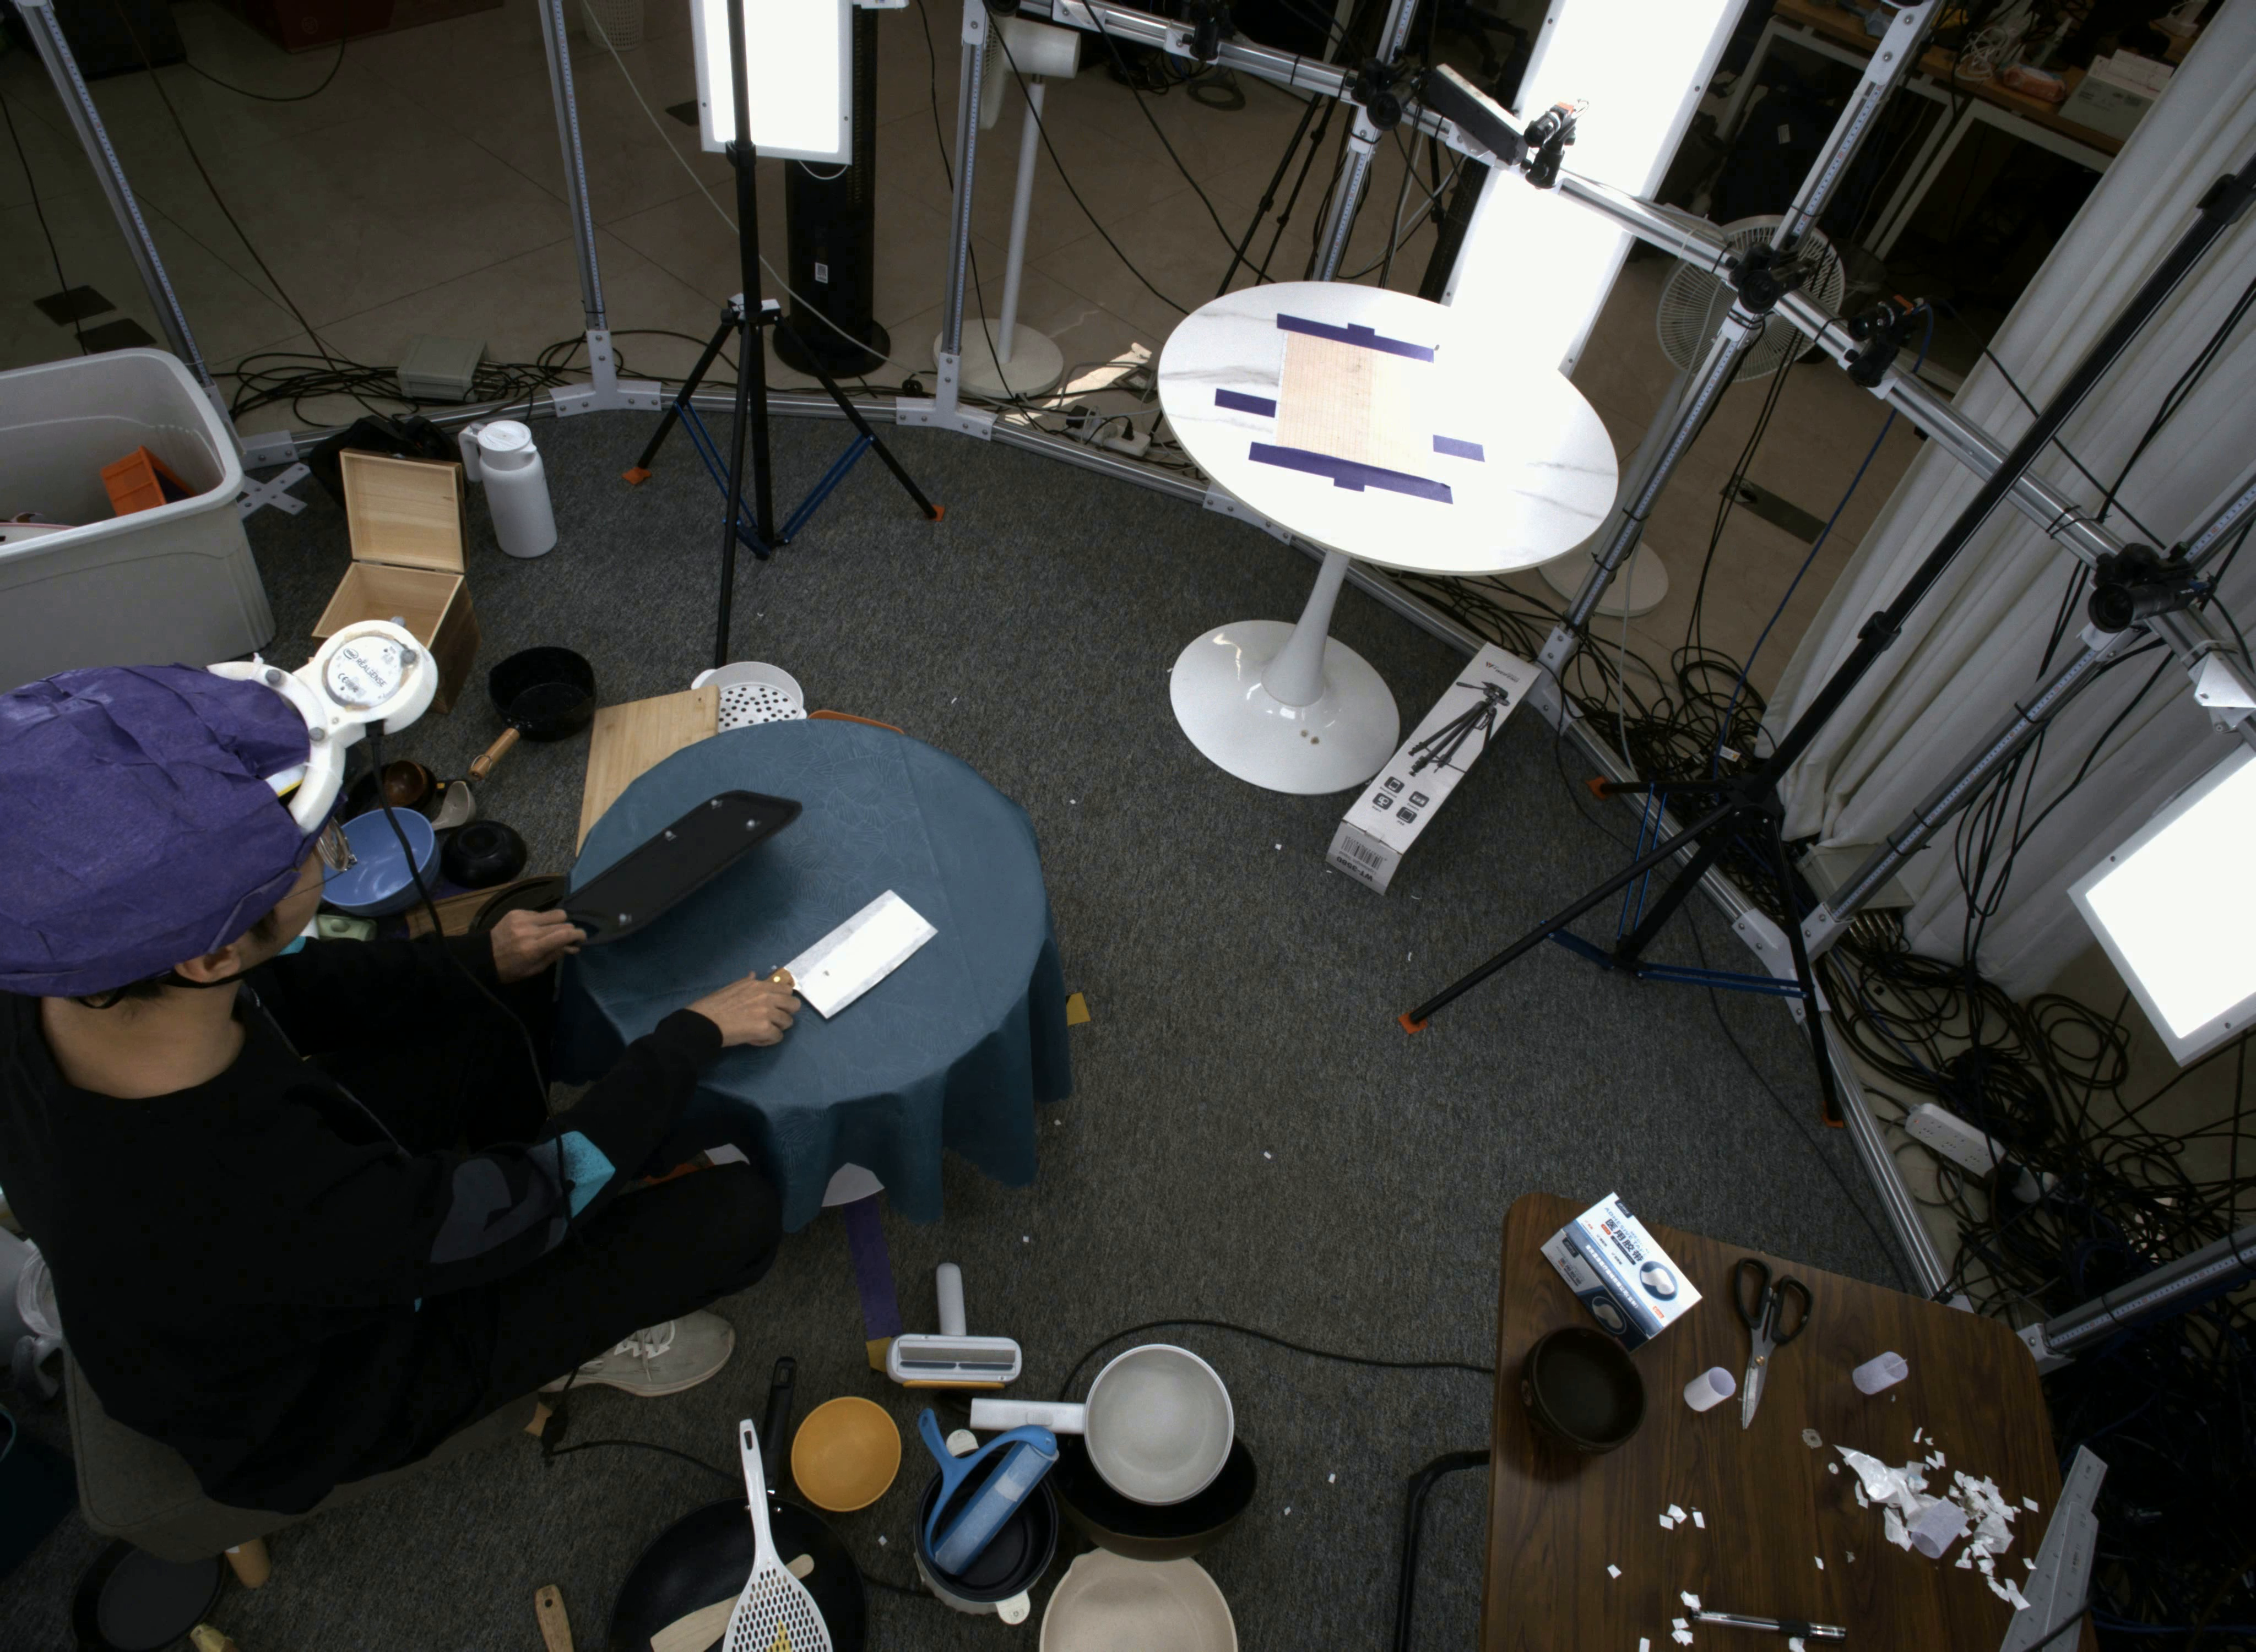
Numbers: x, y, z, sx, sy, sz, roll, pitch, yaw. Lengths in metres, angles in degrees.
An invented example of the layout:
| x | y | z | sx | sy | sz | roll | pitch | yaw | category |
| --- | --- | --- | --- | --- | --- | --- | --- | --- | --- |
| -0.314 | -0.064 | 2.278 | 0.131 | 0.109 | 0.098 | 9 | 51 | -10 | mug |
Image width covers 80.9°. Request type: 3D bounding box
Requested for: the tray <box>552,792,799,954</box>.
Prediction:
| x | y | z | sx | sy | sz | roll | pitch | yaw | category |
| --- | --- | --- | --- | --- | --- | --- | --- | --- | --- |
| -0.561 | 0.050 | 1.560 | 0.203 | 0.010 | 0.325 | 11 | 40 | 41 | tray |

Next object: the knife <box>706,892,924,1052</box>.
| x | y | z | sx | sy | sz | roll | pitch | yaw | category |
| --- | --- | --- | --- | --- | --- | --- | --- | --- | --- |
| -0.370 | 0.184 | 1.580 | 0.091 | 0.021 | 0.306 | 40 | 52 | 13 | knife |
